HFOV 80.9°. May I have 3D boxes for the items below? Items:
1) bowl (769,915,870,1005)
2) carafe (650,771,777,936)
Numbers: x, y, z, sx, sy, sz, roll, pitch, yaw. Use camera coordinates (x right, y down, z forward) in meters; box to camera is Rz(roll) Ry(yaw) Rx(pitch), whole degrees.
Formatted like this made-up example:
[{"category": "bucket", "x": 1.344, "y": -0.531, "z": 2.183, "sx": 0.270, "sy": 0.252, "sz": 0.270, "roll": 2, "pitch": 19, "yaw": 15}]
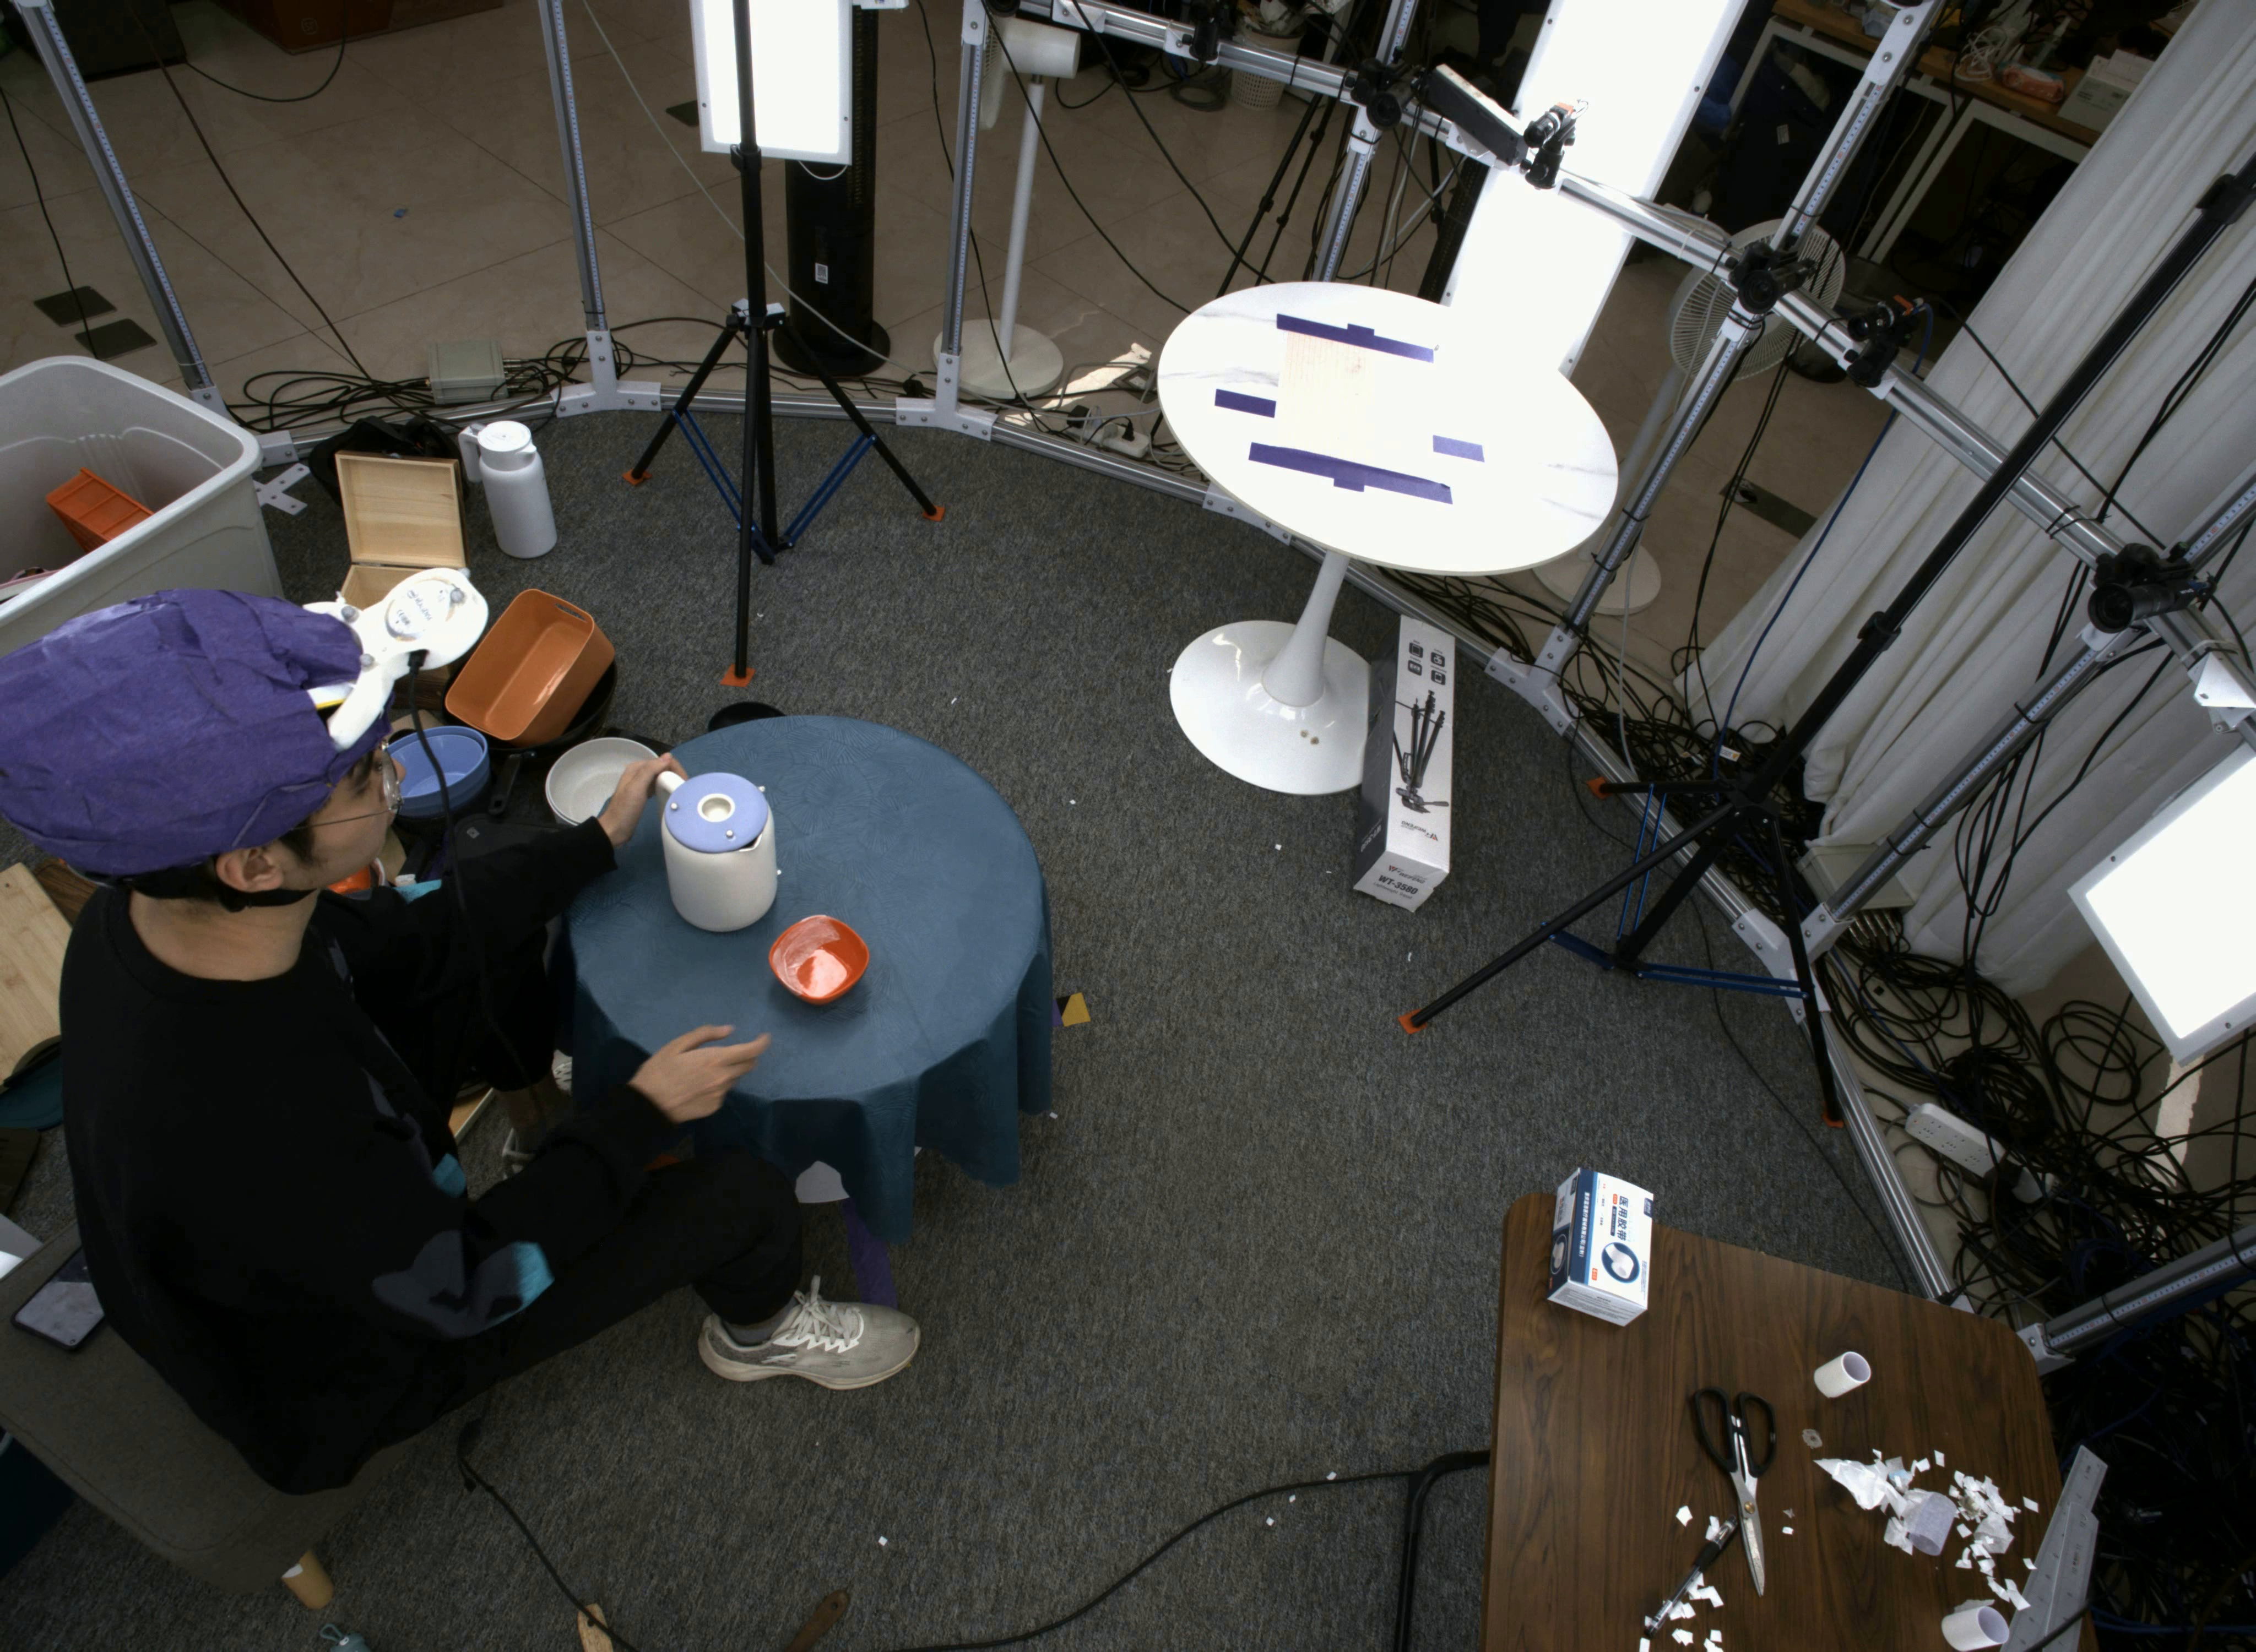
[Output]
[{"category": "bowl", "x": -0.377, "y": 0.170, "z": 1.583, "sx": 0.119, "sy": 0.052, "sz": 0.117, "roll": 10, "pitch": 51, "yaw": -11}, {"category": "carafe", "x": -0.517, "y": 0.018, "z": 1.582, "sx": 0.187, "sy": 0.187, "sz": 0.132, "roll": 35, "pitch": 52, "yaw": 17}]
